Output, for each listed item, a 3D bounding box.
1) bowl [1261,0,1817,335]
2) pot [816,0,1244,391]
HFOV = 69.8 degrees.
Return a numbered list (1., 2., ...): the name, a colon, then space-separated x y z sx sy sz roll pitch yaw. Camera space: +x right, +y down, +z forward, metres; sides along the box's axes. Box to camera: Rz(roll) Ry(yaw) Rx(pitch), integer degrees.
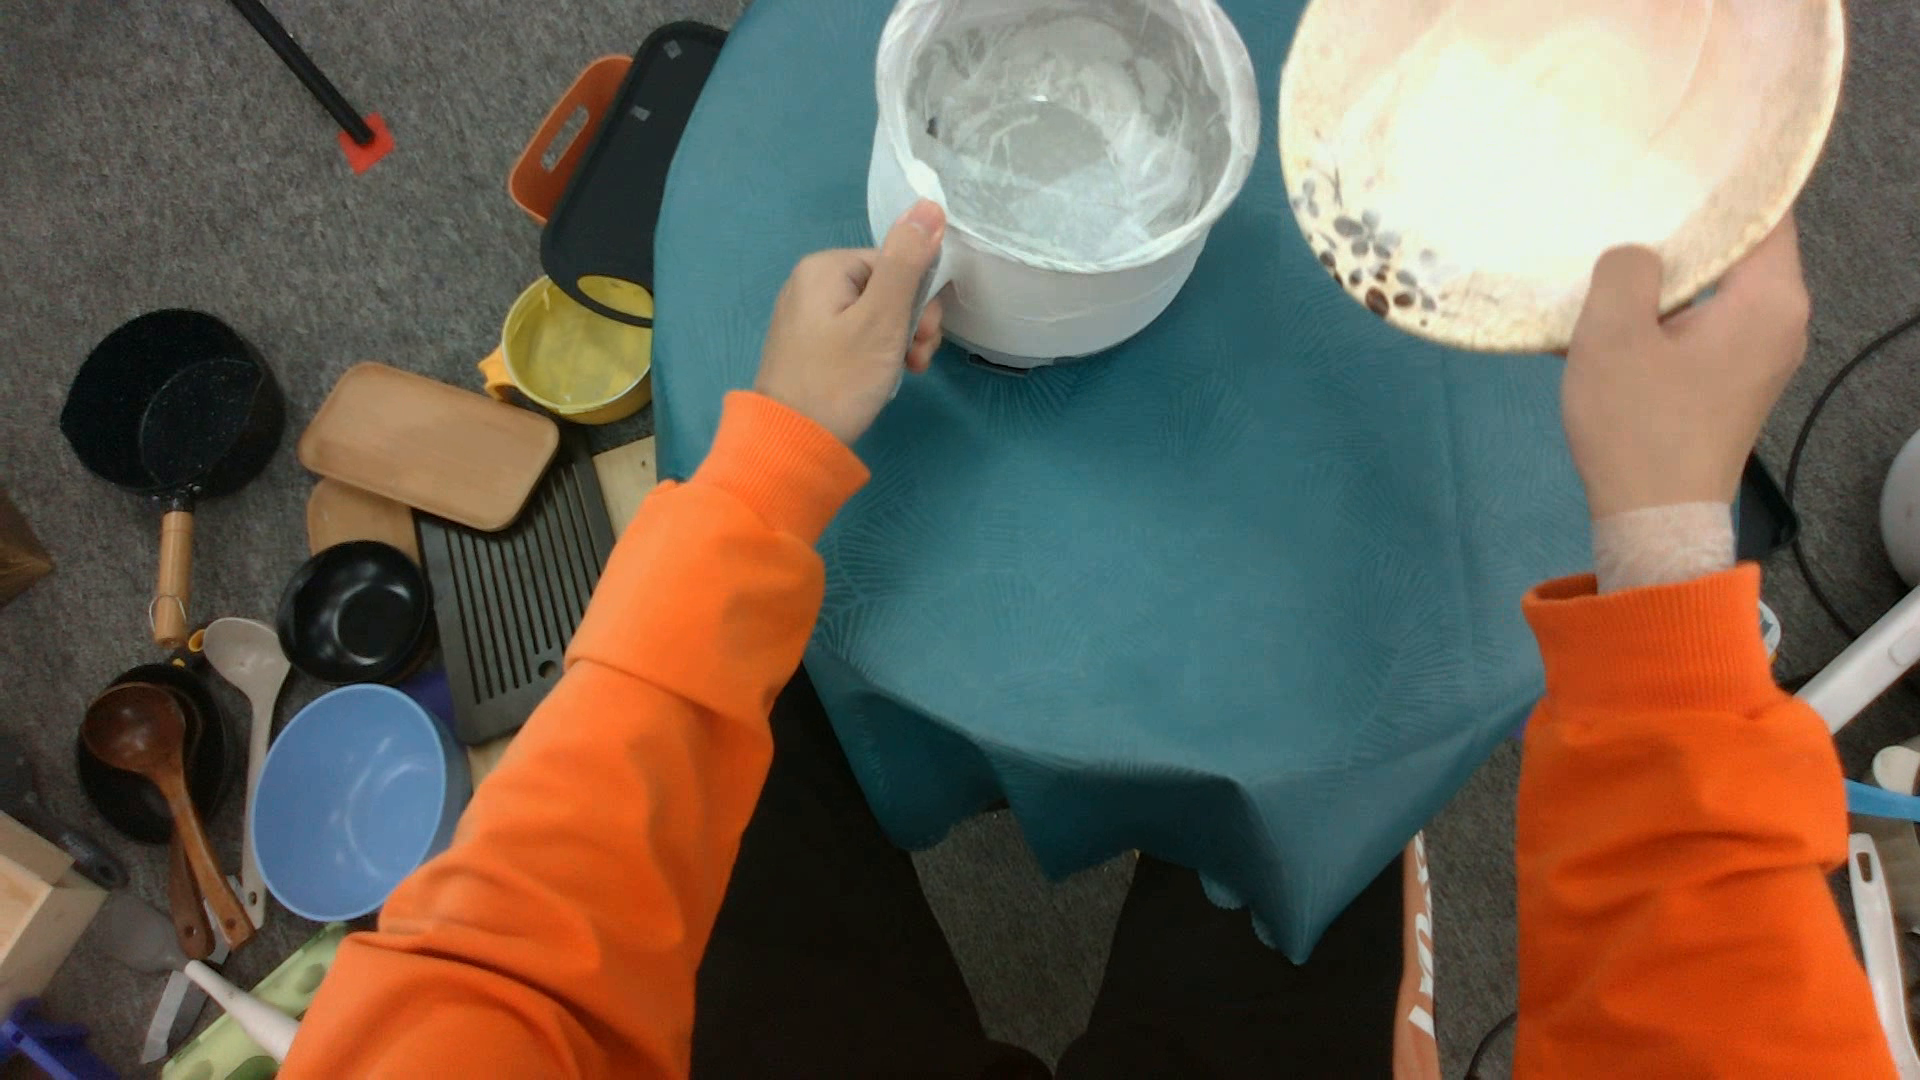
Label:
1. bowl: 0.230 -0.187 0.553 0.203 0.078 0.203 9 105 36
2. pot: 0.019 -0.174 0.680 0.179 0.136 0.234 39 73 4
